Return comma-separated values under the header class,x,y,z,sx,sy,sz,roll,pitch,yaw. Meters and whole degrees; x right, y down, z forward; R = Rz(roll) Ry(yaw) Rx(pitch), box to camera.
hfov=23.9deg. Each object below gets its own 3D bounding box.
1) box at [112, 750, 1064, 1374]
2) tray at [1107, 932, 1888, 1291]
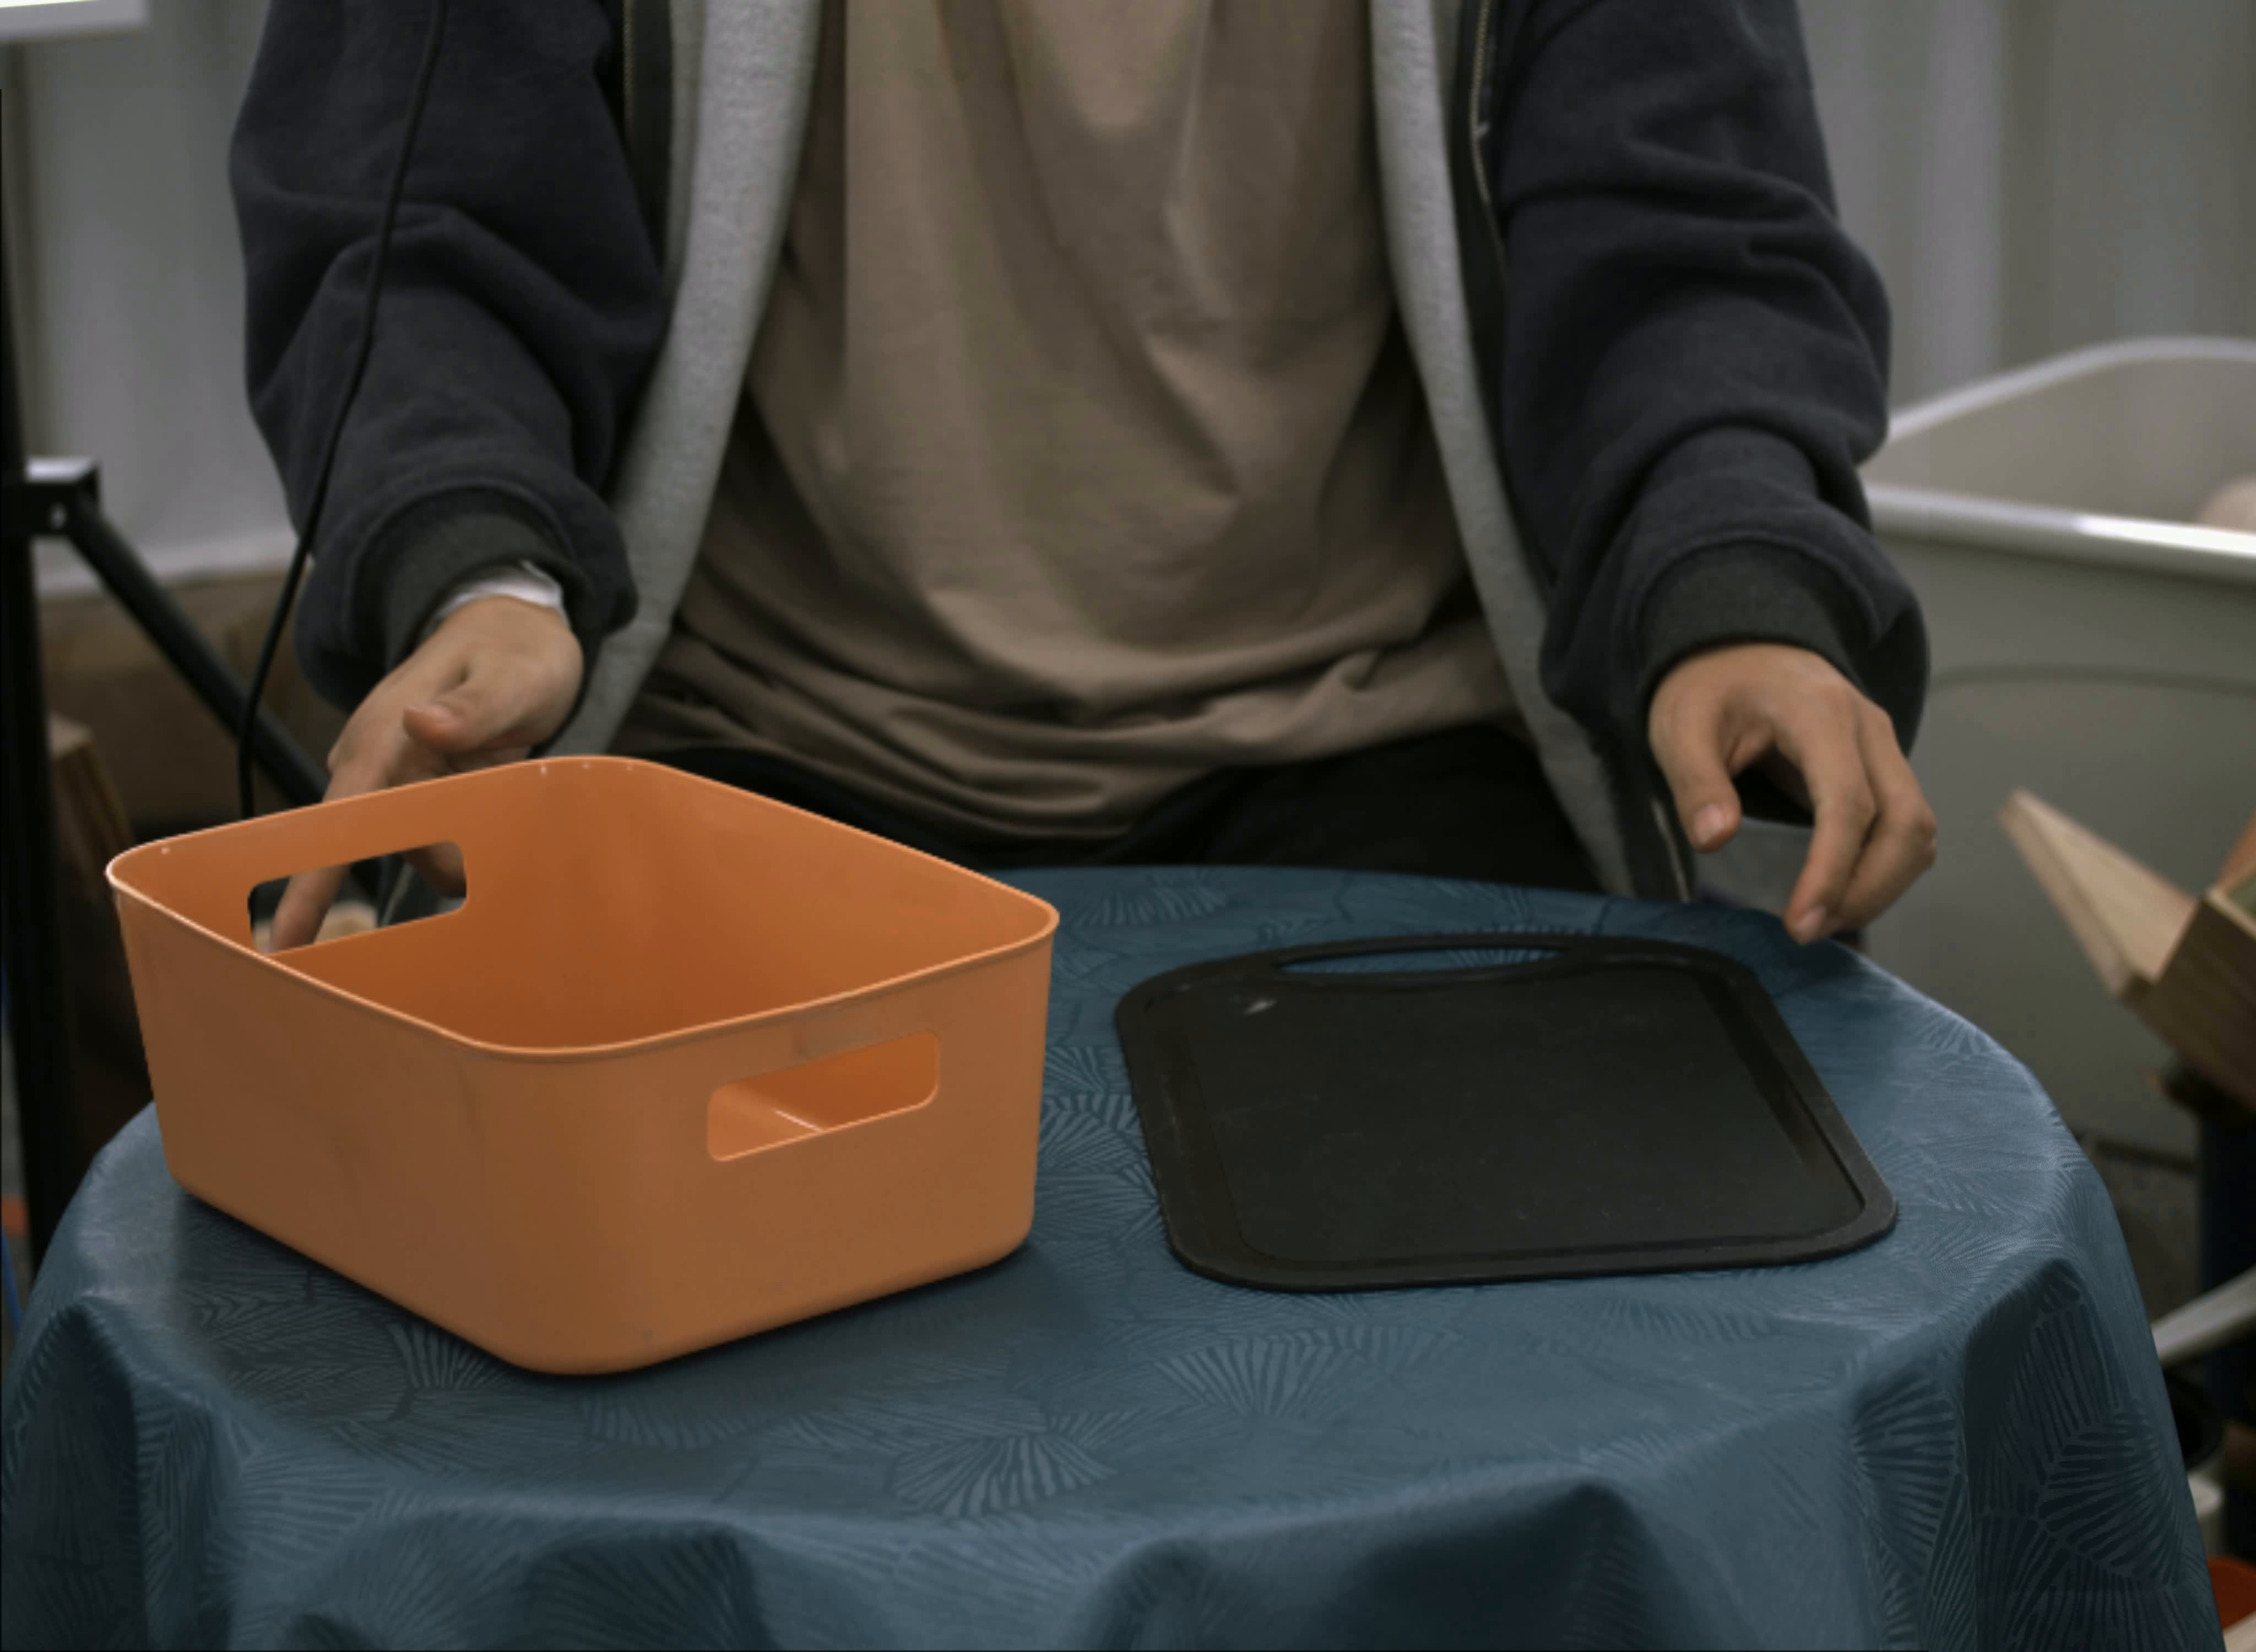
class,x,y,z,sx,sy,sz,roll,pitch,yaw
box,-0.156,0.064,1.549,0.195,0.102,0.279,-14,20,-34
tray,0.104,0.081,1.627,0.209,0.010,0.327,-3,16,-3
